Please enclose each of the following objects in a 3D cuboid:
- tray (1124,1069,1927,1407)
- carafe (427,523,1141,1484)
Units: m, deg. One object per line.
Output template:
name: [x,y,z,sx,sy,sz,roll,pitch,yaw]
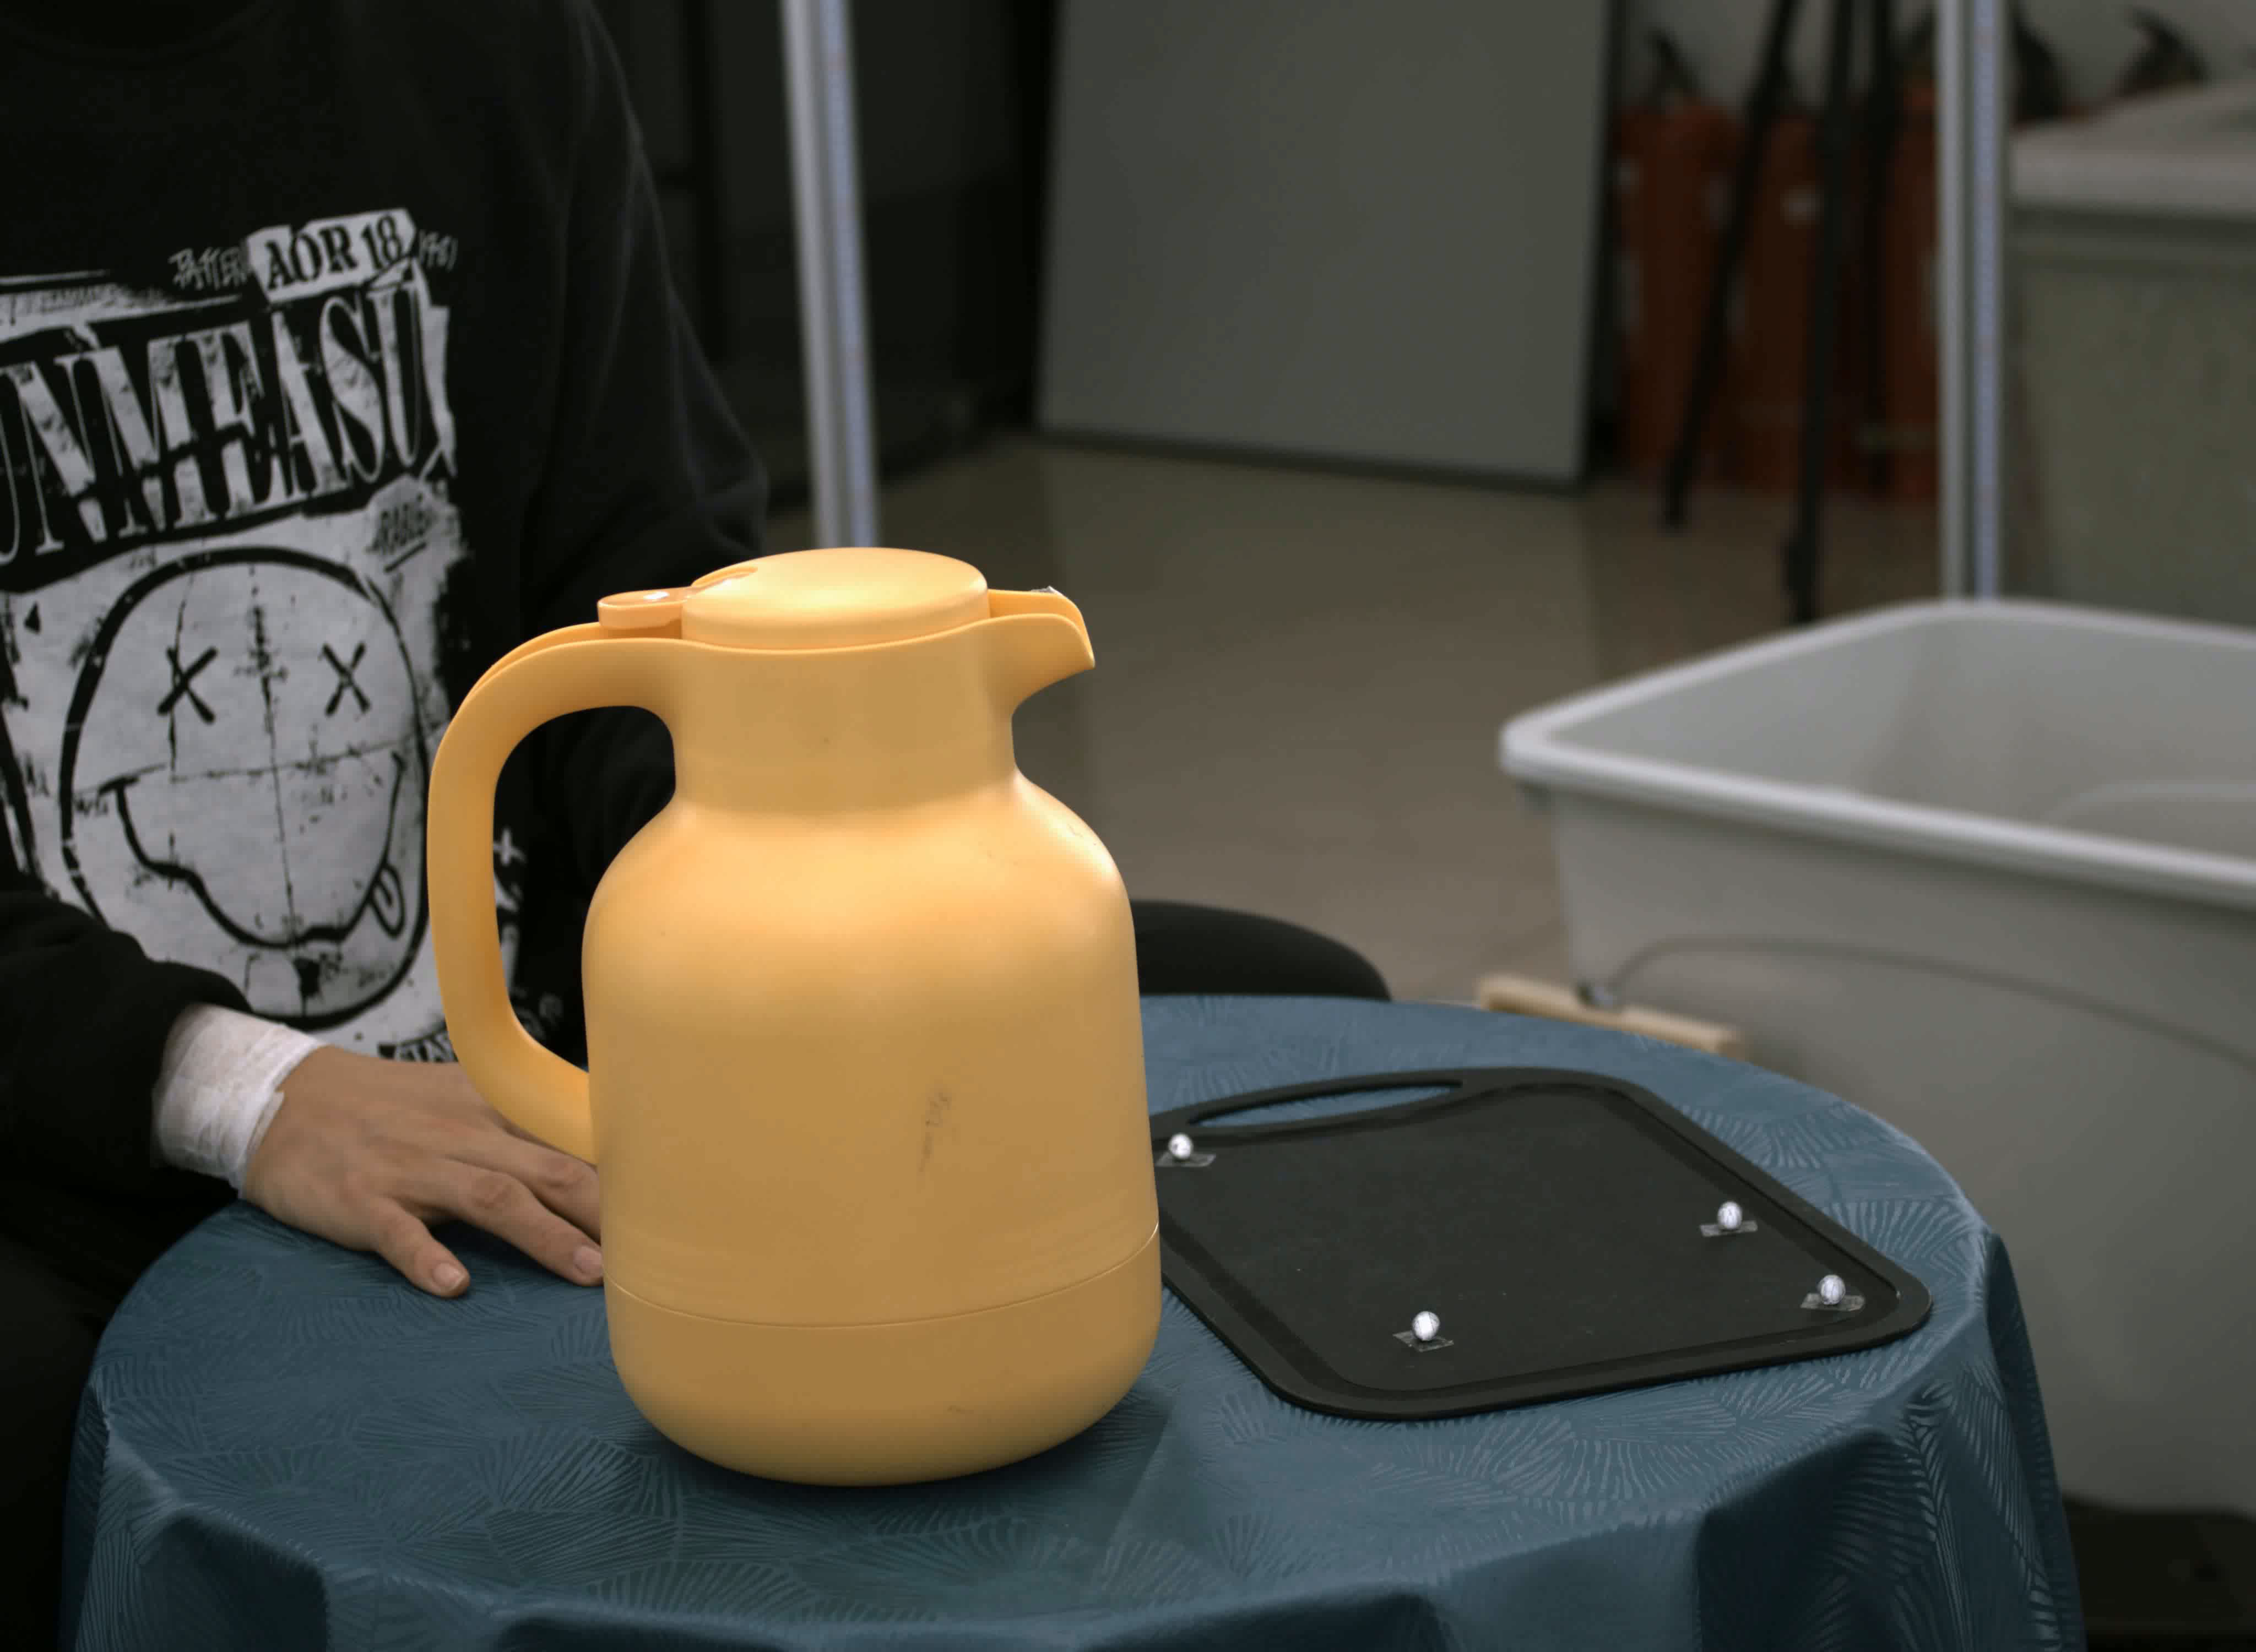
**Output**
tray: [0.107,0.124,1.714,0.207,0.010,0.328,-8,14,-14]
carafe: [-0.098,0.047,1.551,0.200,0.263,0.163,-1,11,5]
